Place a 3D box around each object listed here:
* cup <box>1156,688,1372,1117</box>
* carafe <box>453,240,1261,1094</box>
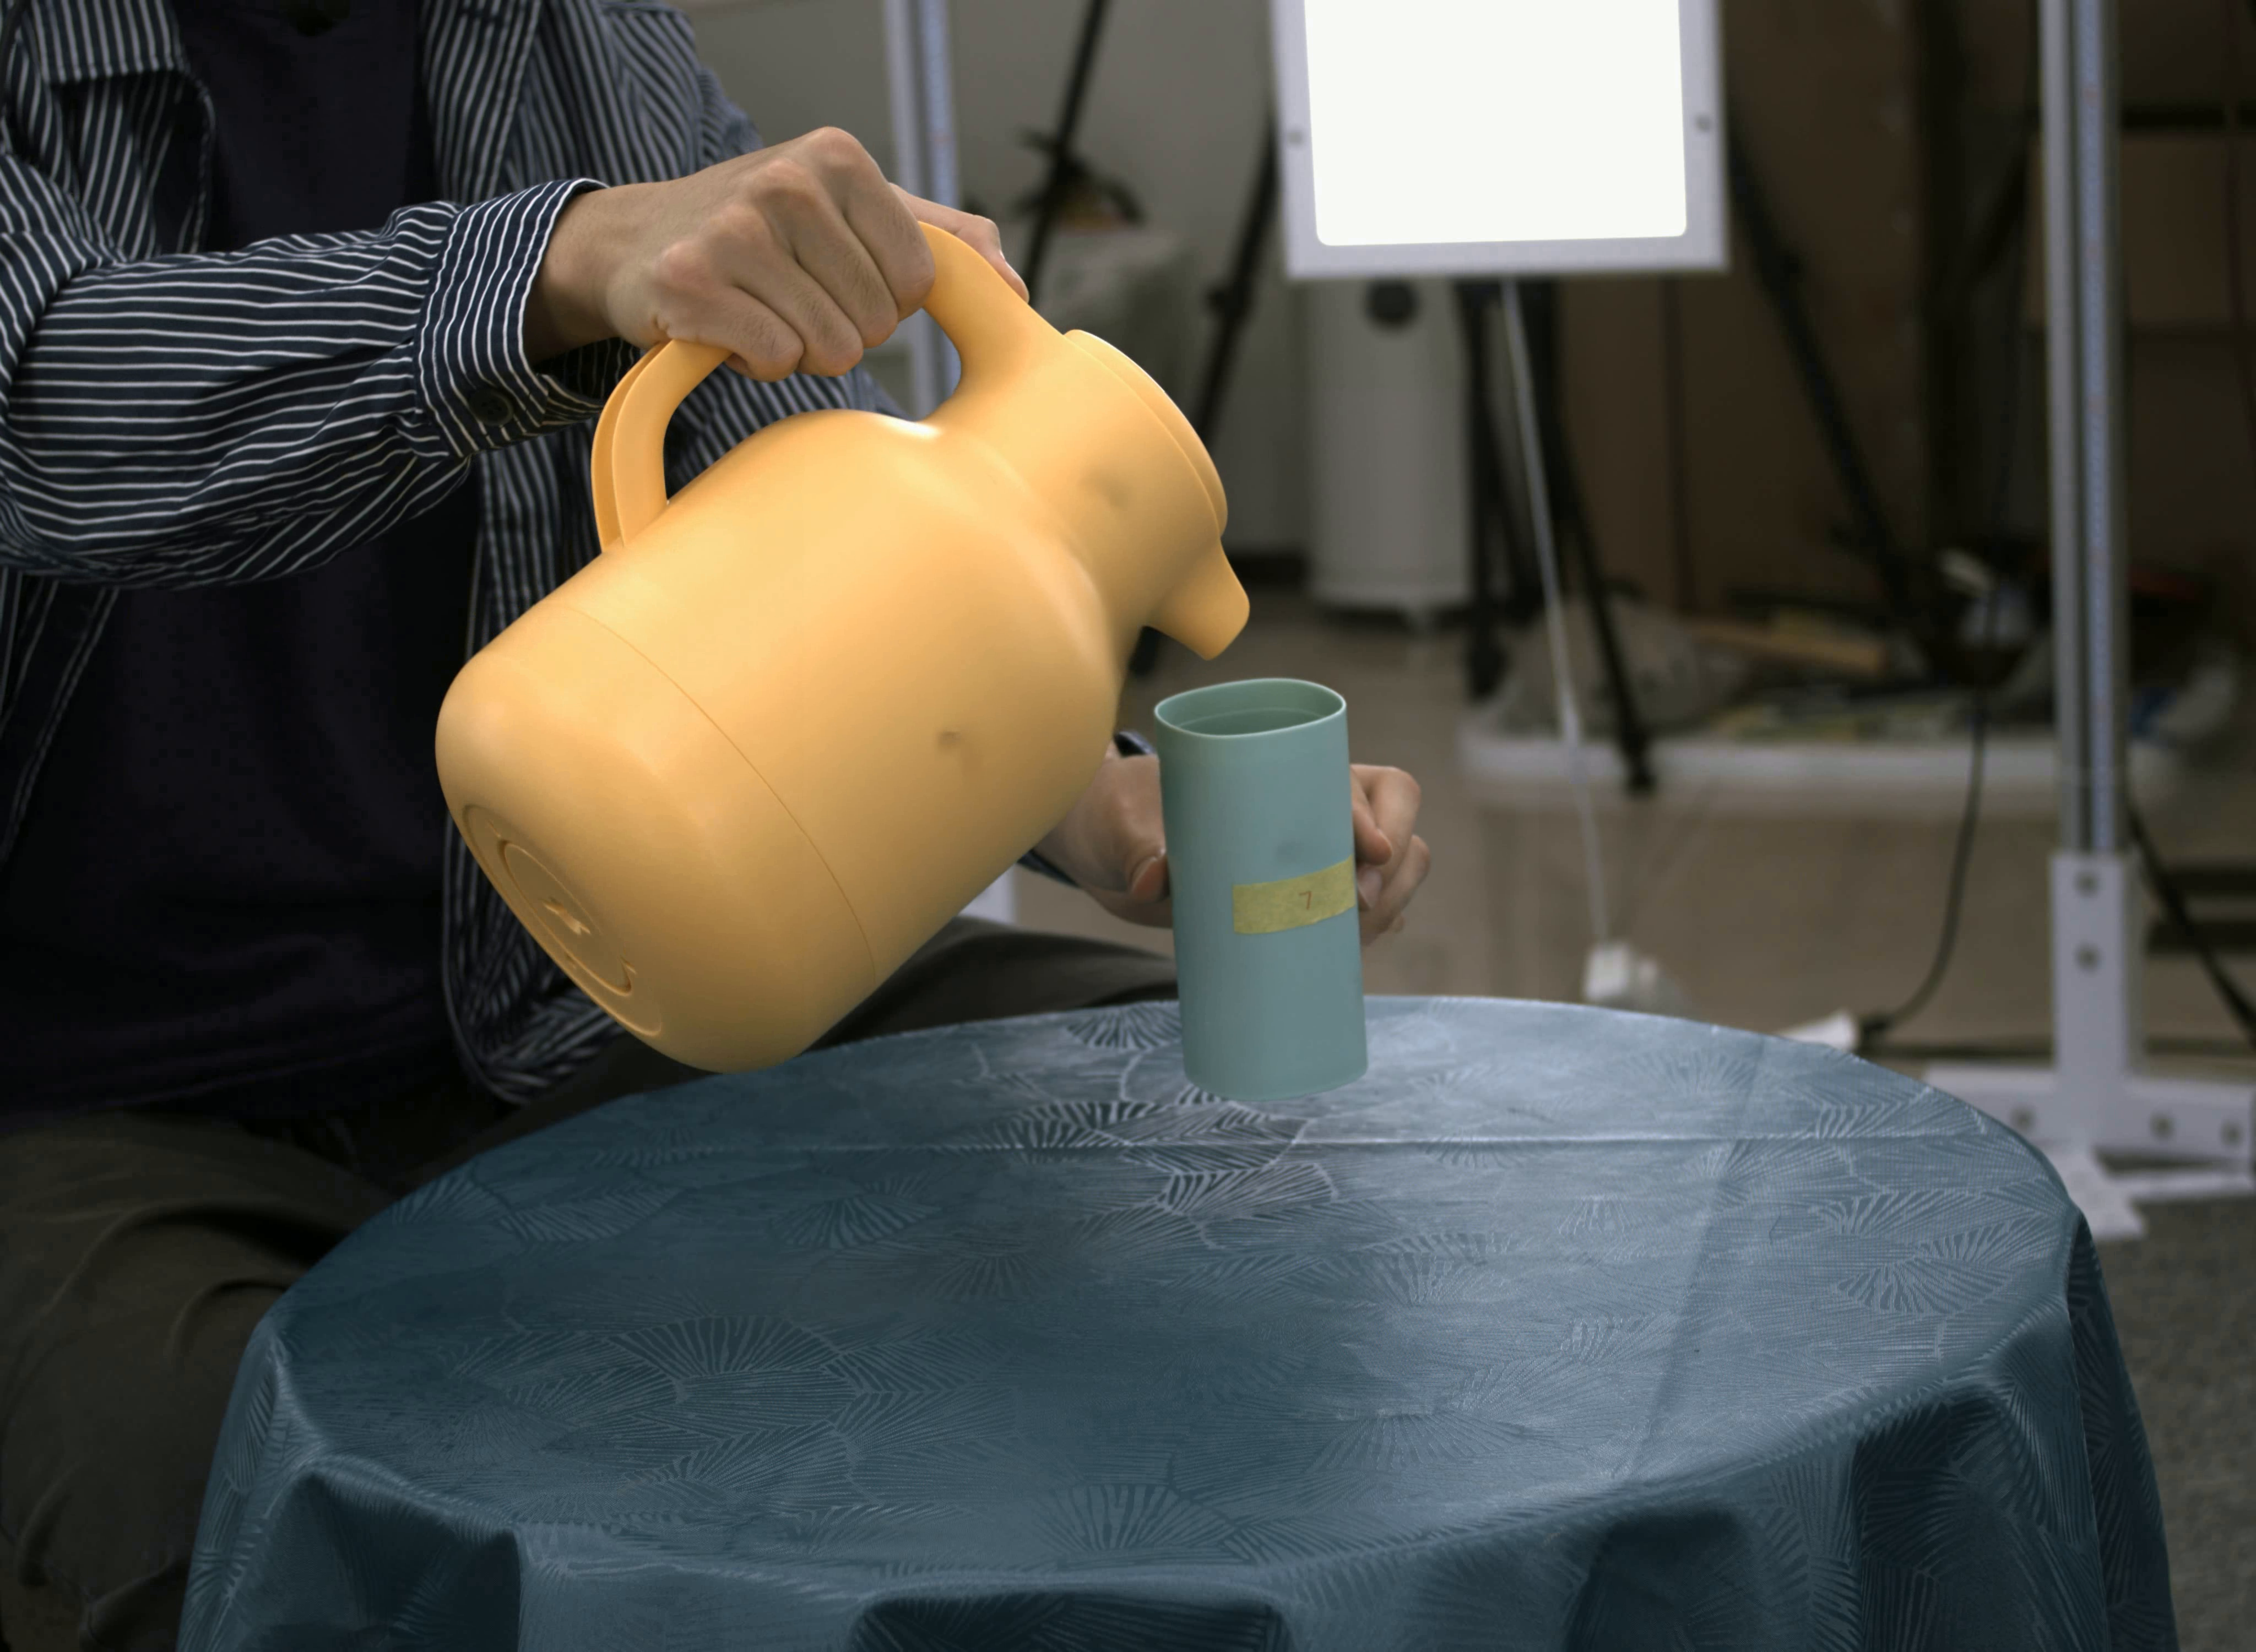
[{"bbox_3d":[0.046,0.025,1.859,0.066,0.133,0.066,-5,18,0],"label":"cup"},{"bbox_3d":[-0.093,-0.060,1.771,0.257,0.201,0.166,-41,13,-16],"label":"carafe"}]
